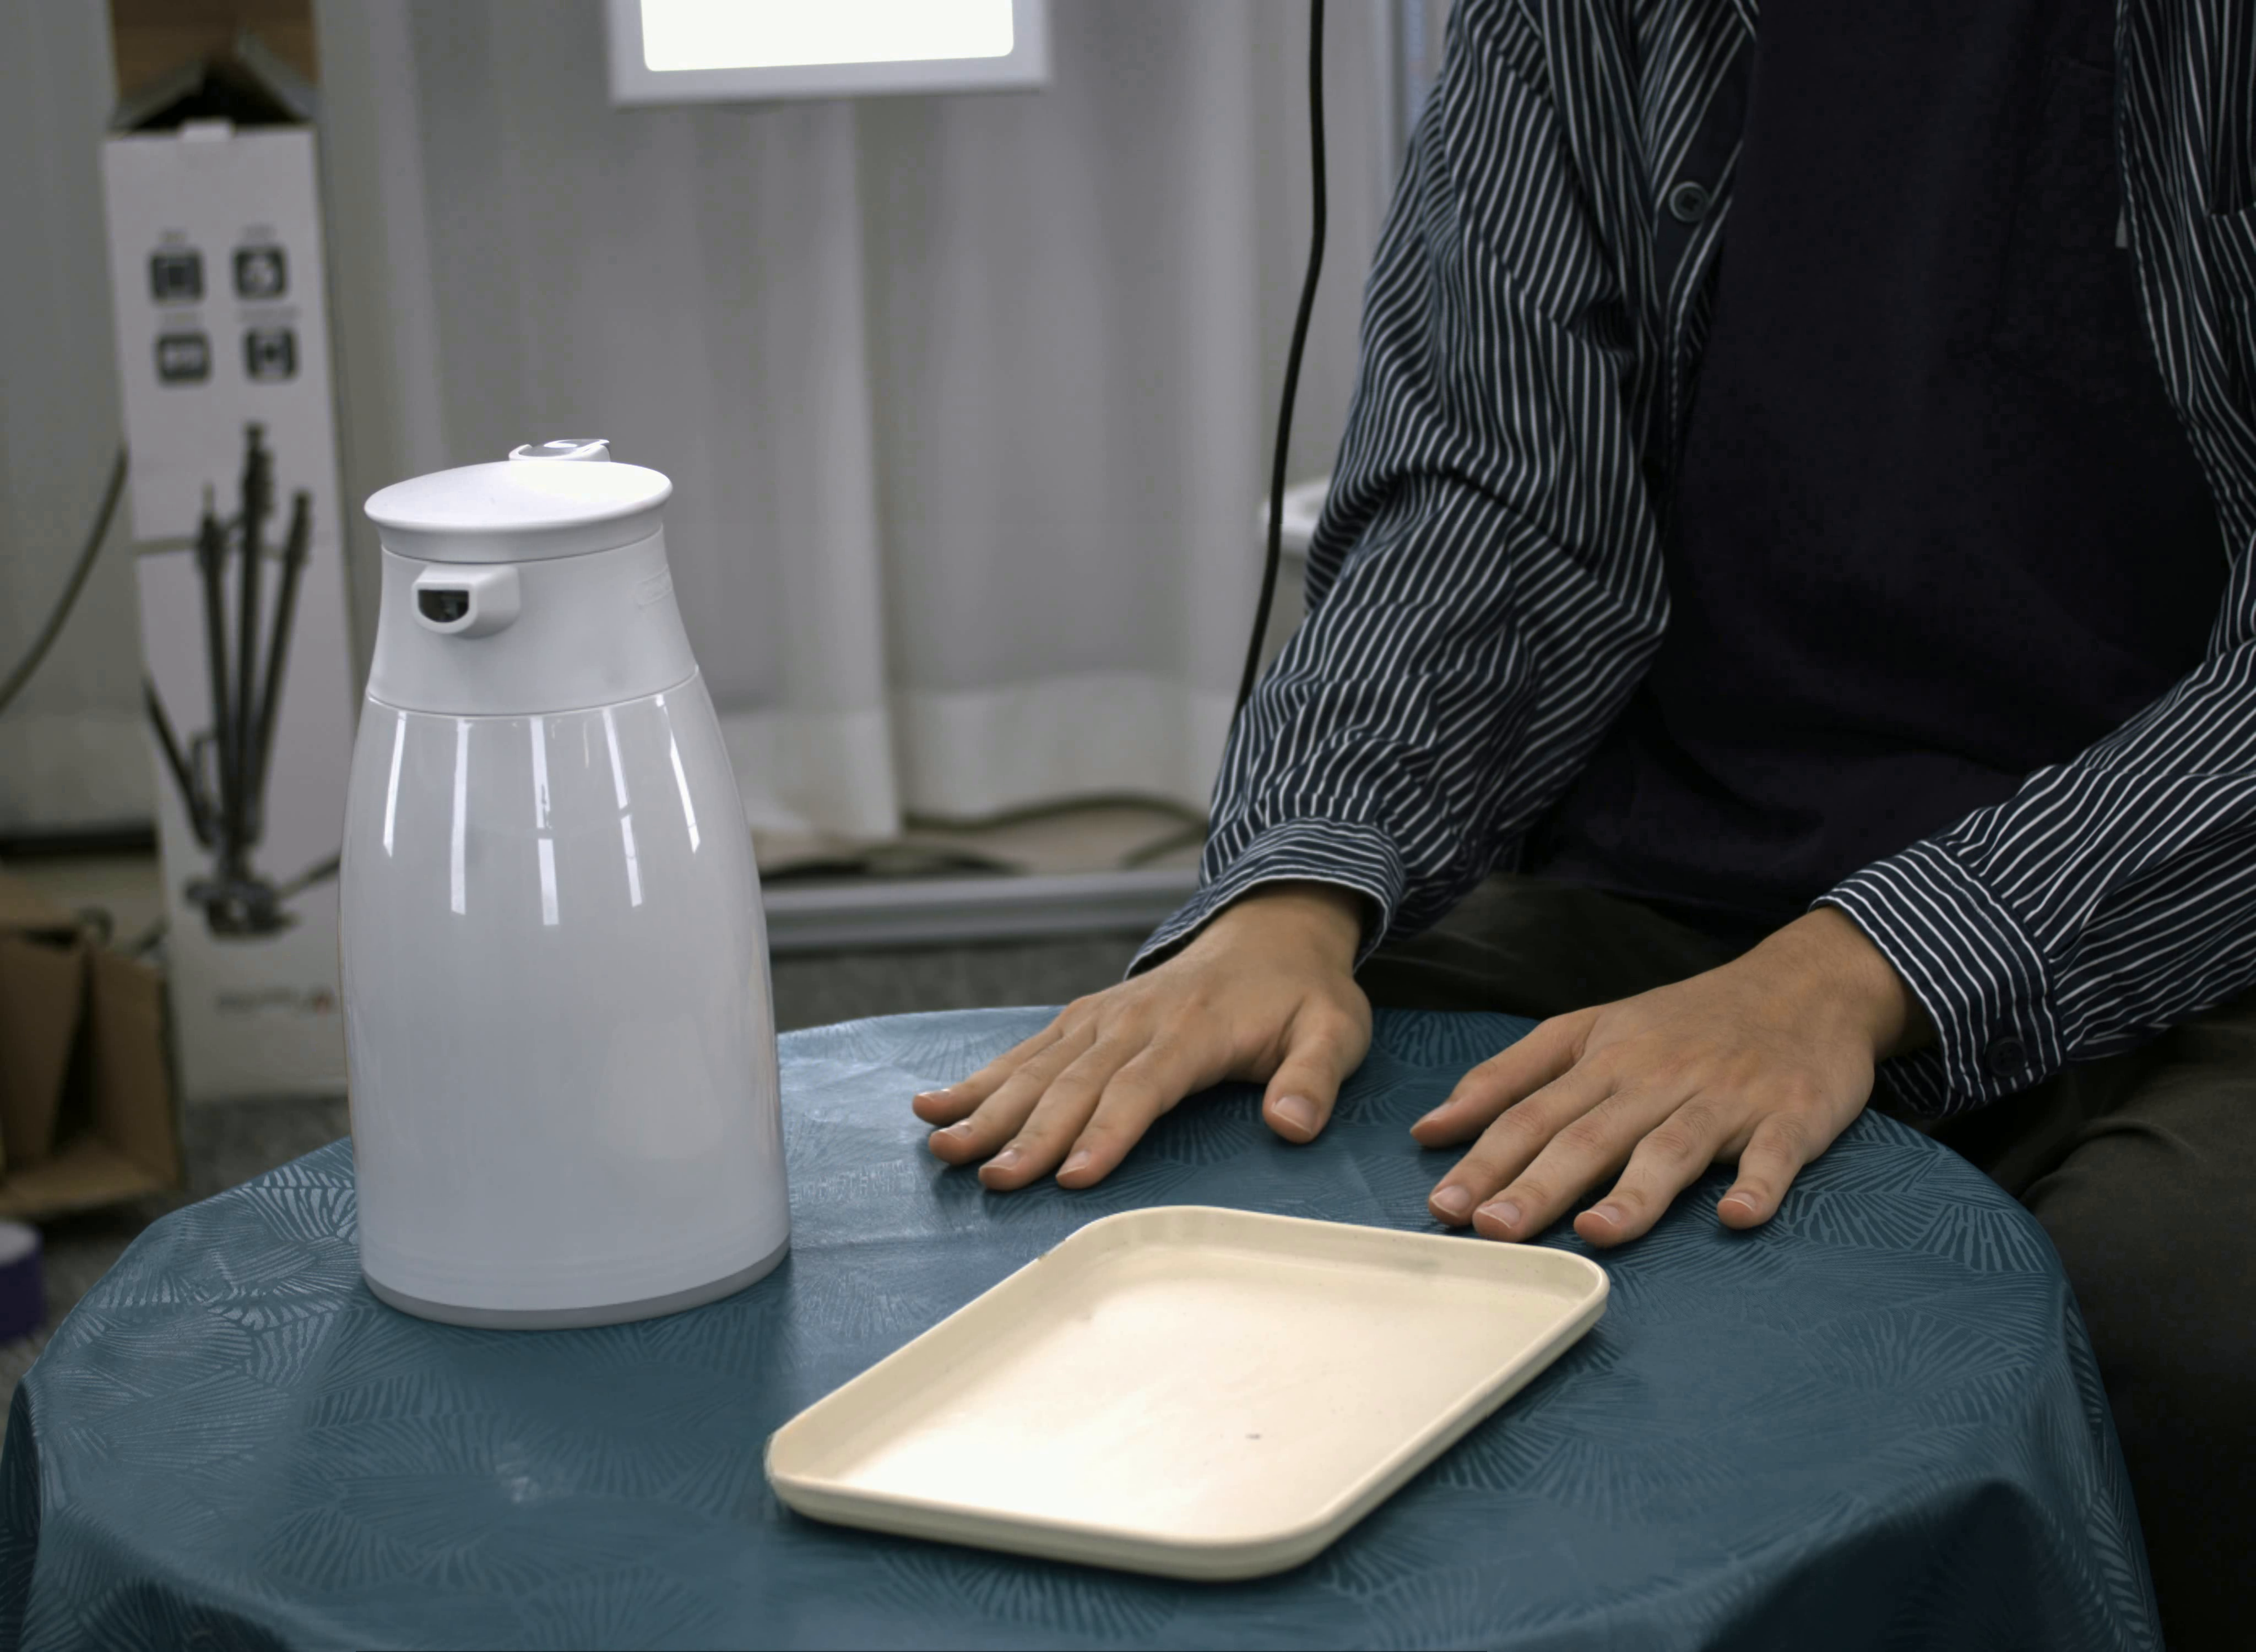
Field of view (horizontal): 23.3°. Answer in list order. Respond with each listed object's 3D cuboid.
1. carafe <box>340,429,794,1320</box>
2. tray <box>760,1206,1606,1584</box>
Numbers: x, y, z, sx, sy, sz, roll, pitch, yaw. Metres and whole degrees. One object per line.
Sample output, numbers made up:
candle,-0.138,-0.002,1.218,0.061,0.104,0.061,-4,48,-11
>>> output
carafe,-0.172,0.006,1.671,0.132,0.248,0.168,-1,13,12
tray,0.019,0.157,1.521,0.171,0.017,0.240,5,17,27
